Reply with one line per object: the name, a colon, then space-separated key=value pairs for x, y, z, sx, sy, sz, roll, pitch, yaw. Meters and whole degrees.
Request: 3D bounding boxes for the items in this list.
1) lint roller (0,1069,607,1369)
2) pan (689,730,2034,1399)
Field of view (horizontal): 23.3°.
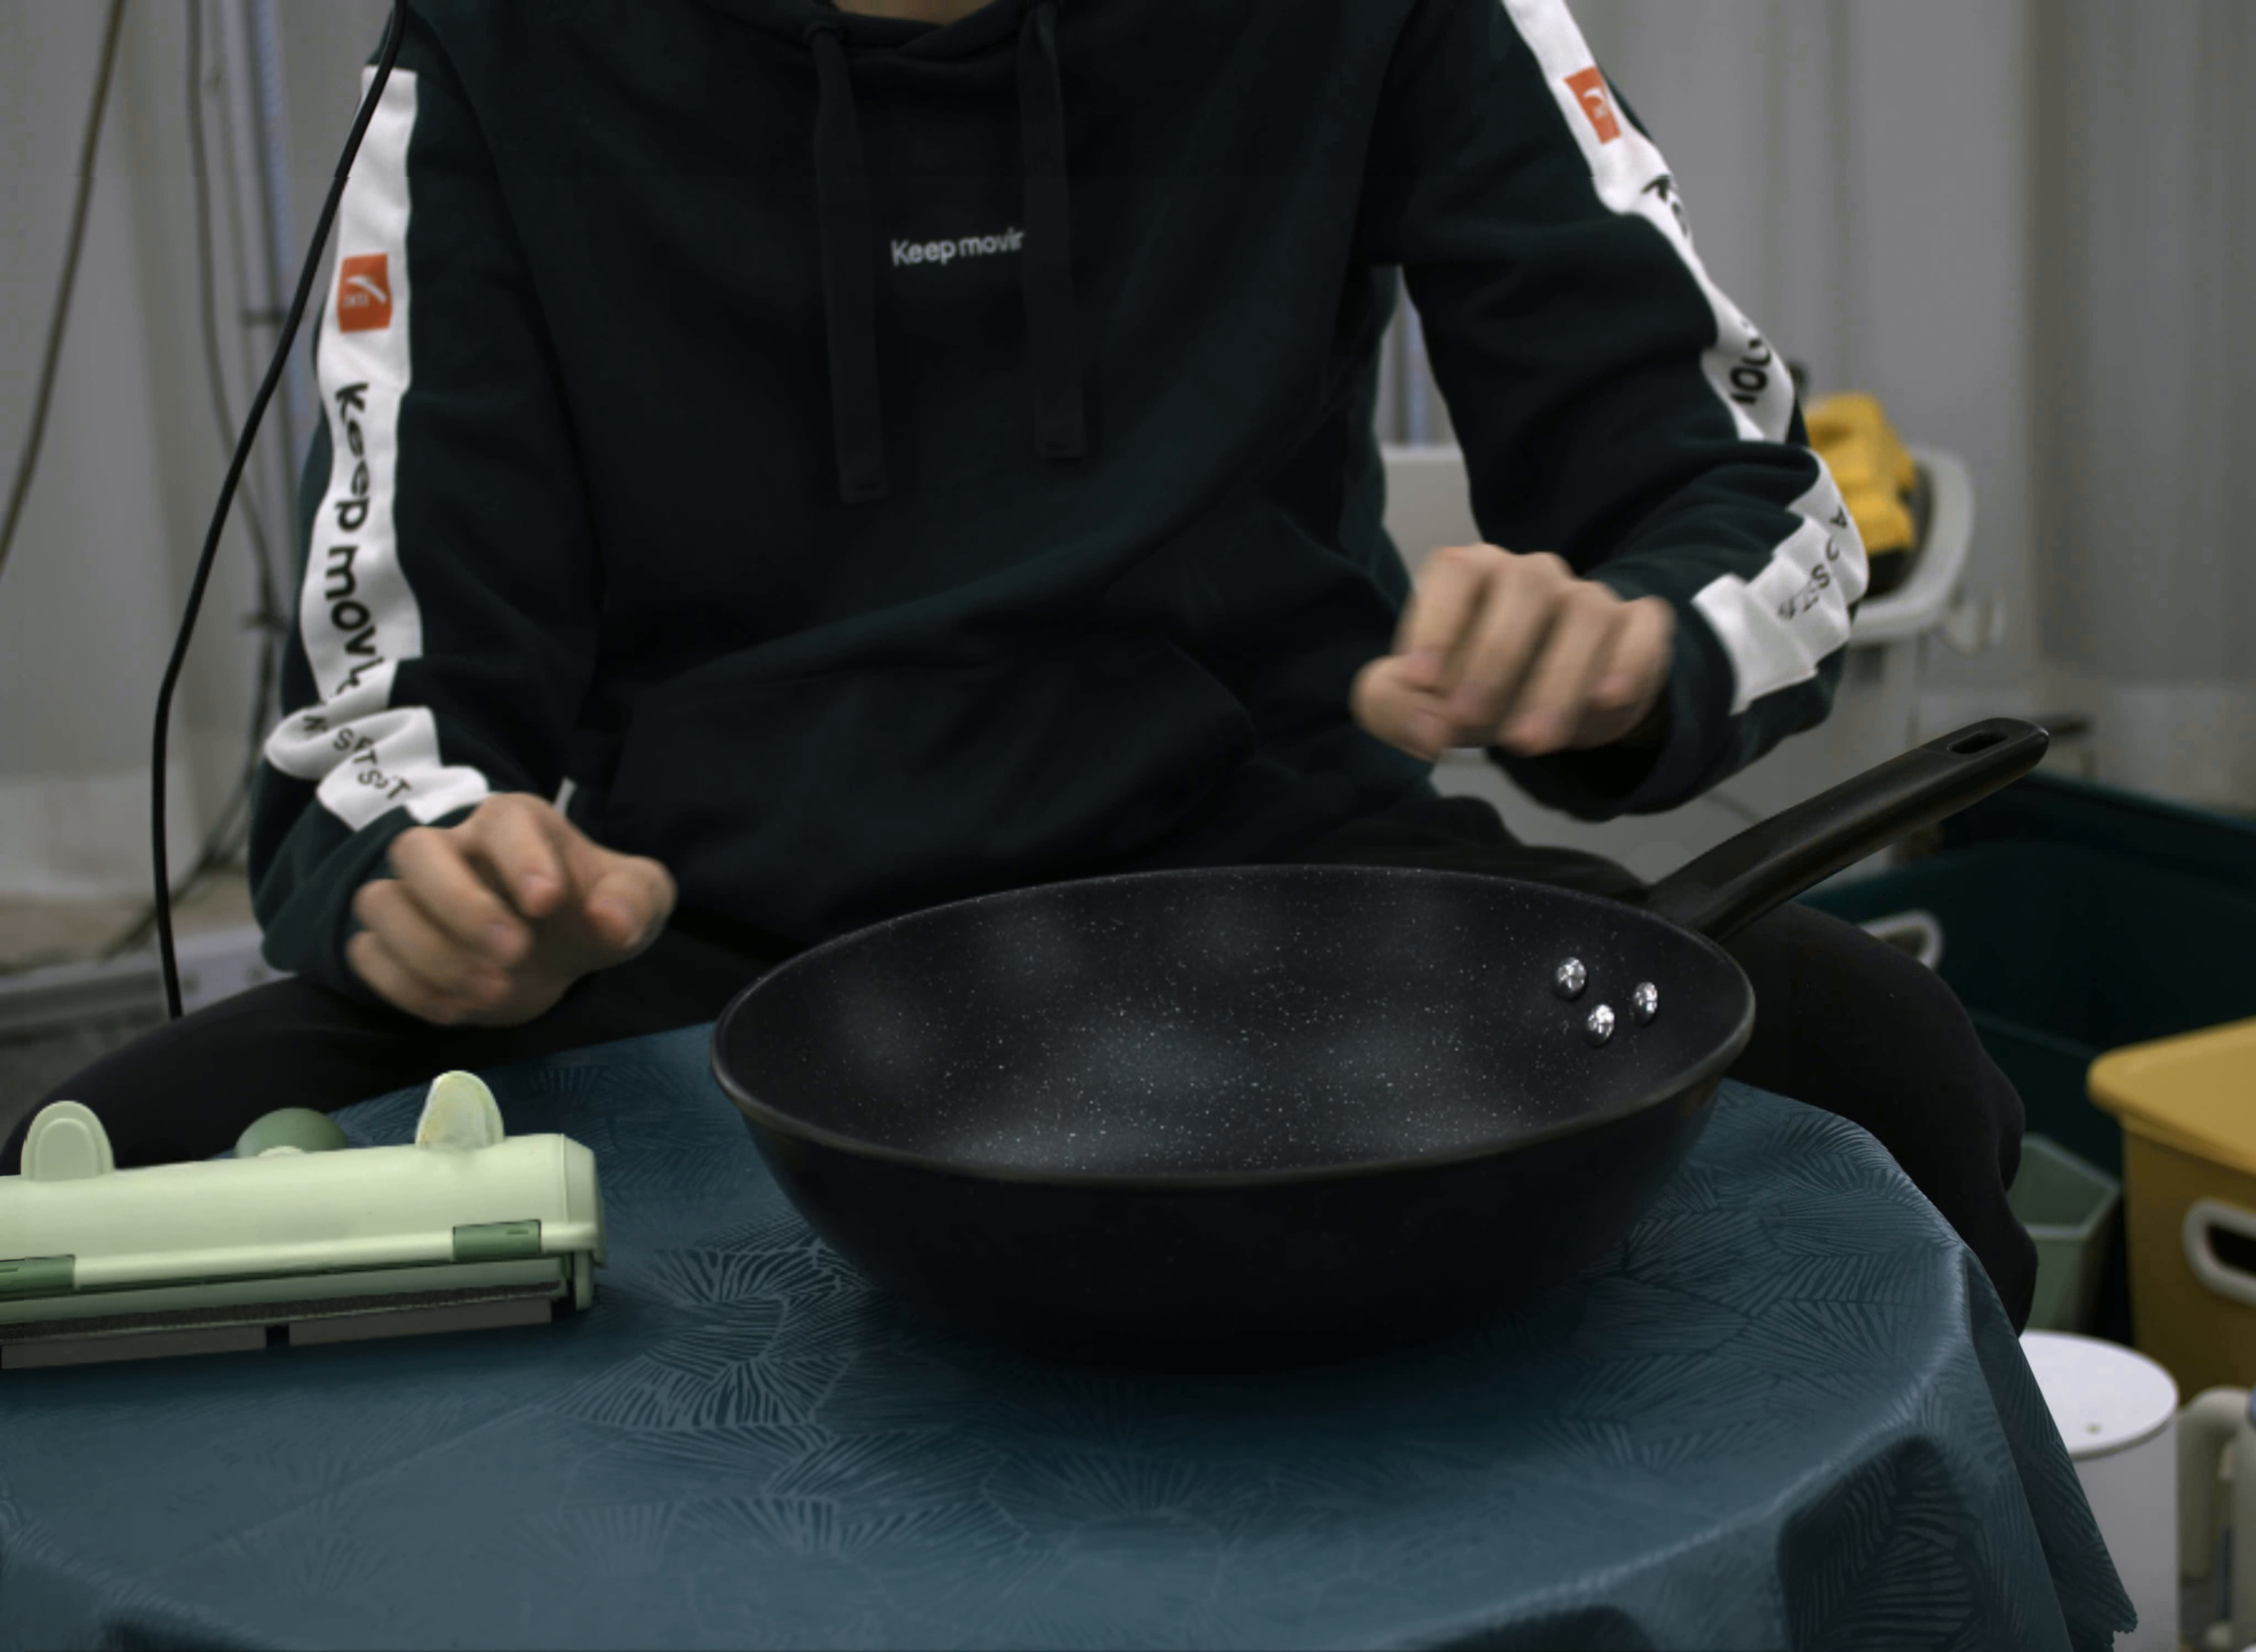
lint roller: x=-0.260 y=0.100 z=1.675 sx=0.198 sy=0.081 sz=0.185 roll=-5 pitch=20 yaw=-4
pan: x=0.095 y=0.070 z=1.659 sx=0.475 sy=0.111 sz=0.312 roll=-14 pitch=20 yaw=-32
